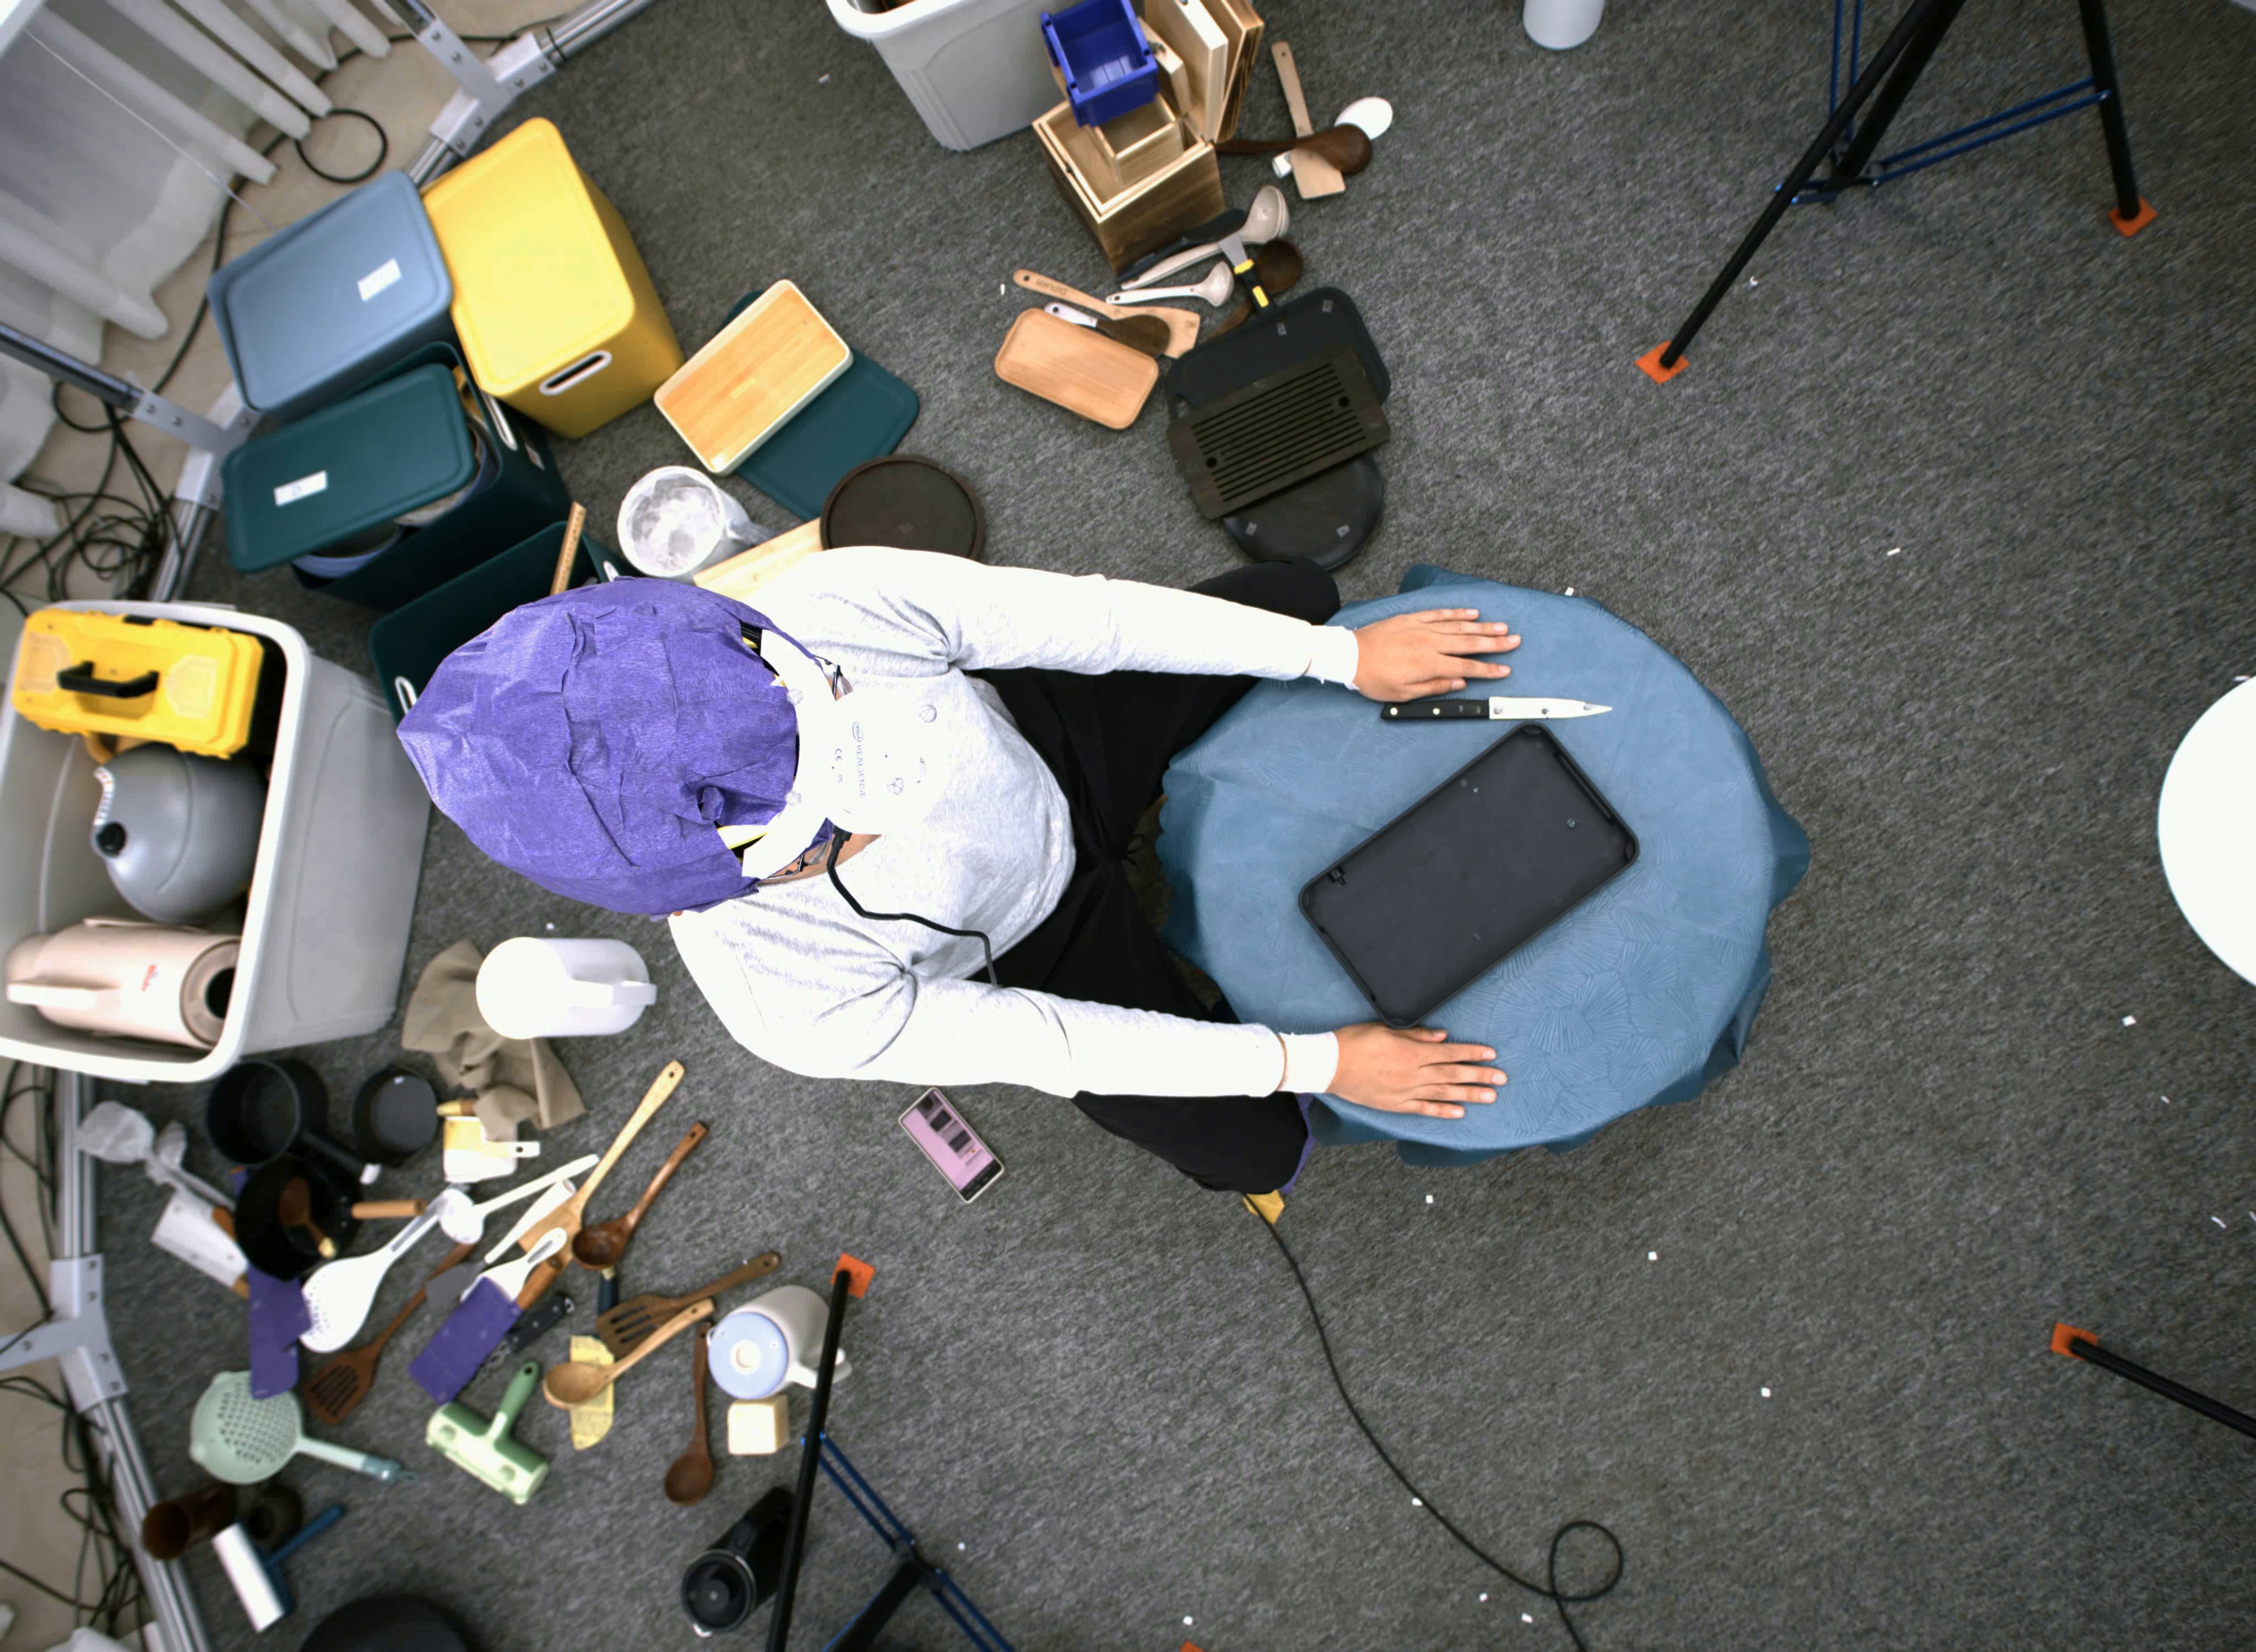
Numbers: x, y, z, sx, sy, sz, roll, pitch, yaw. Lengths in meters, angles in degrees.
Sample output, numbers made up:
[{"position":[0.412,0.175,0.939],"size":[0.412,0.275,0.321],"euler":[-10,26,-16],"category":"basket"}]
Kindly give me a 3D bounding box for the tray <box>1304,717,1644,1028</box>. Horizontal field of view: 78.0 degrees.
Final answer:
[{"position":[0.355,0.046,1.428],"size":[0.320,0.037,0.183],"euler":[-39,80,7],"category":"tray"}]

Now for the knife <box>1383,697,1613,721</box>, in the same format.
[{"position":[0.389,-0.125,1.443],"size":[0.239,0.016,0.024],"euler":[-1,84,8],"category":"knife"}]
